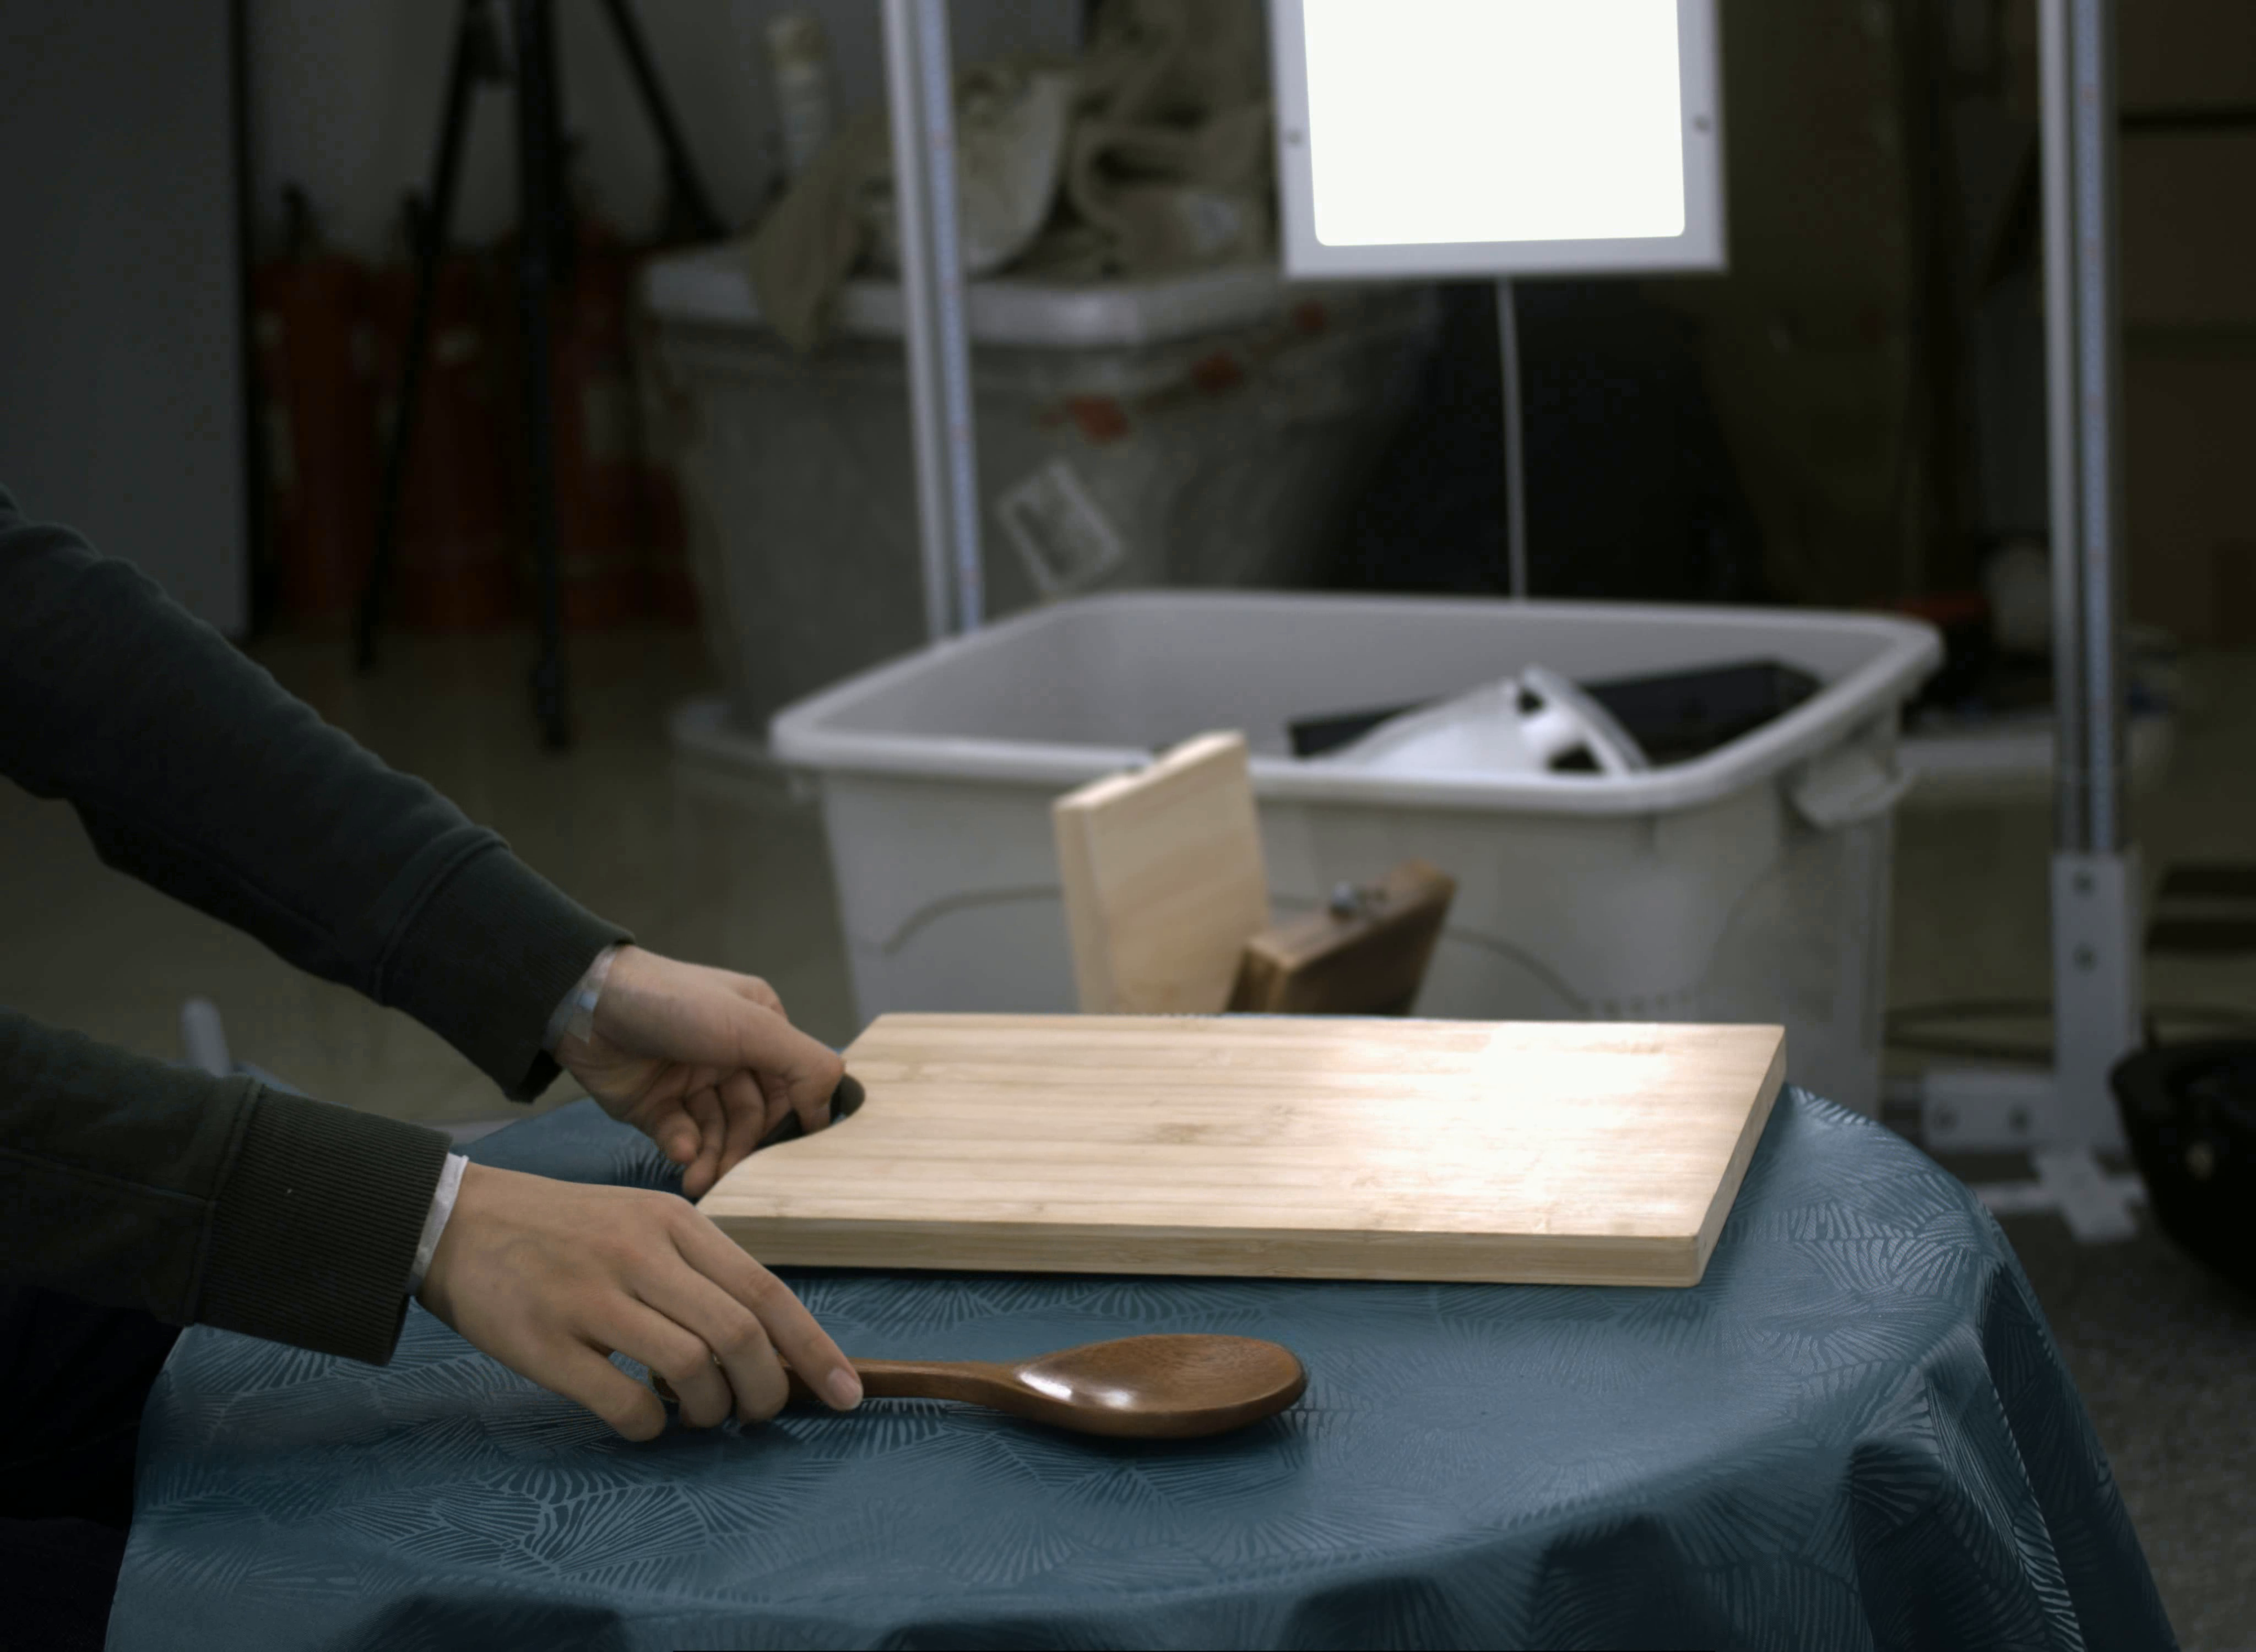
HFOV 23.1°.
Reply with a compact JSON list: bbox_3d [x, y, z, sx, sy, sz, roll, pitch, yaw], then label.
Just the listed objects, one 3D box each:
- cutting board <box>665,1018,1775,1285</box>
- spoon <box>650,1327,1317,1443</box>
[{"bbox_3d":[0.039,0.110,1.908,0.352,0.023,0.247,0,14,15],"label":"cutting board"},{"bbox_3d":[-0.046,0.171,1.695,0.219,0.017,0.074,1,16,20],"label":"spoon"}]
